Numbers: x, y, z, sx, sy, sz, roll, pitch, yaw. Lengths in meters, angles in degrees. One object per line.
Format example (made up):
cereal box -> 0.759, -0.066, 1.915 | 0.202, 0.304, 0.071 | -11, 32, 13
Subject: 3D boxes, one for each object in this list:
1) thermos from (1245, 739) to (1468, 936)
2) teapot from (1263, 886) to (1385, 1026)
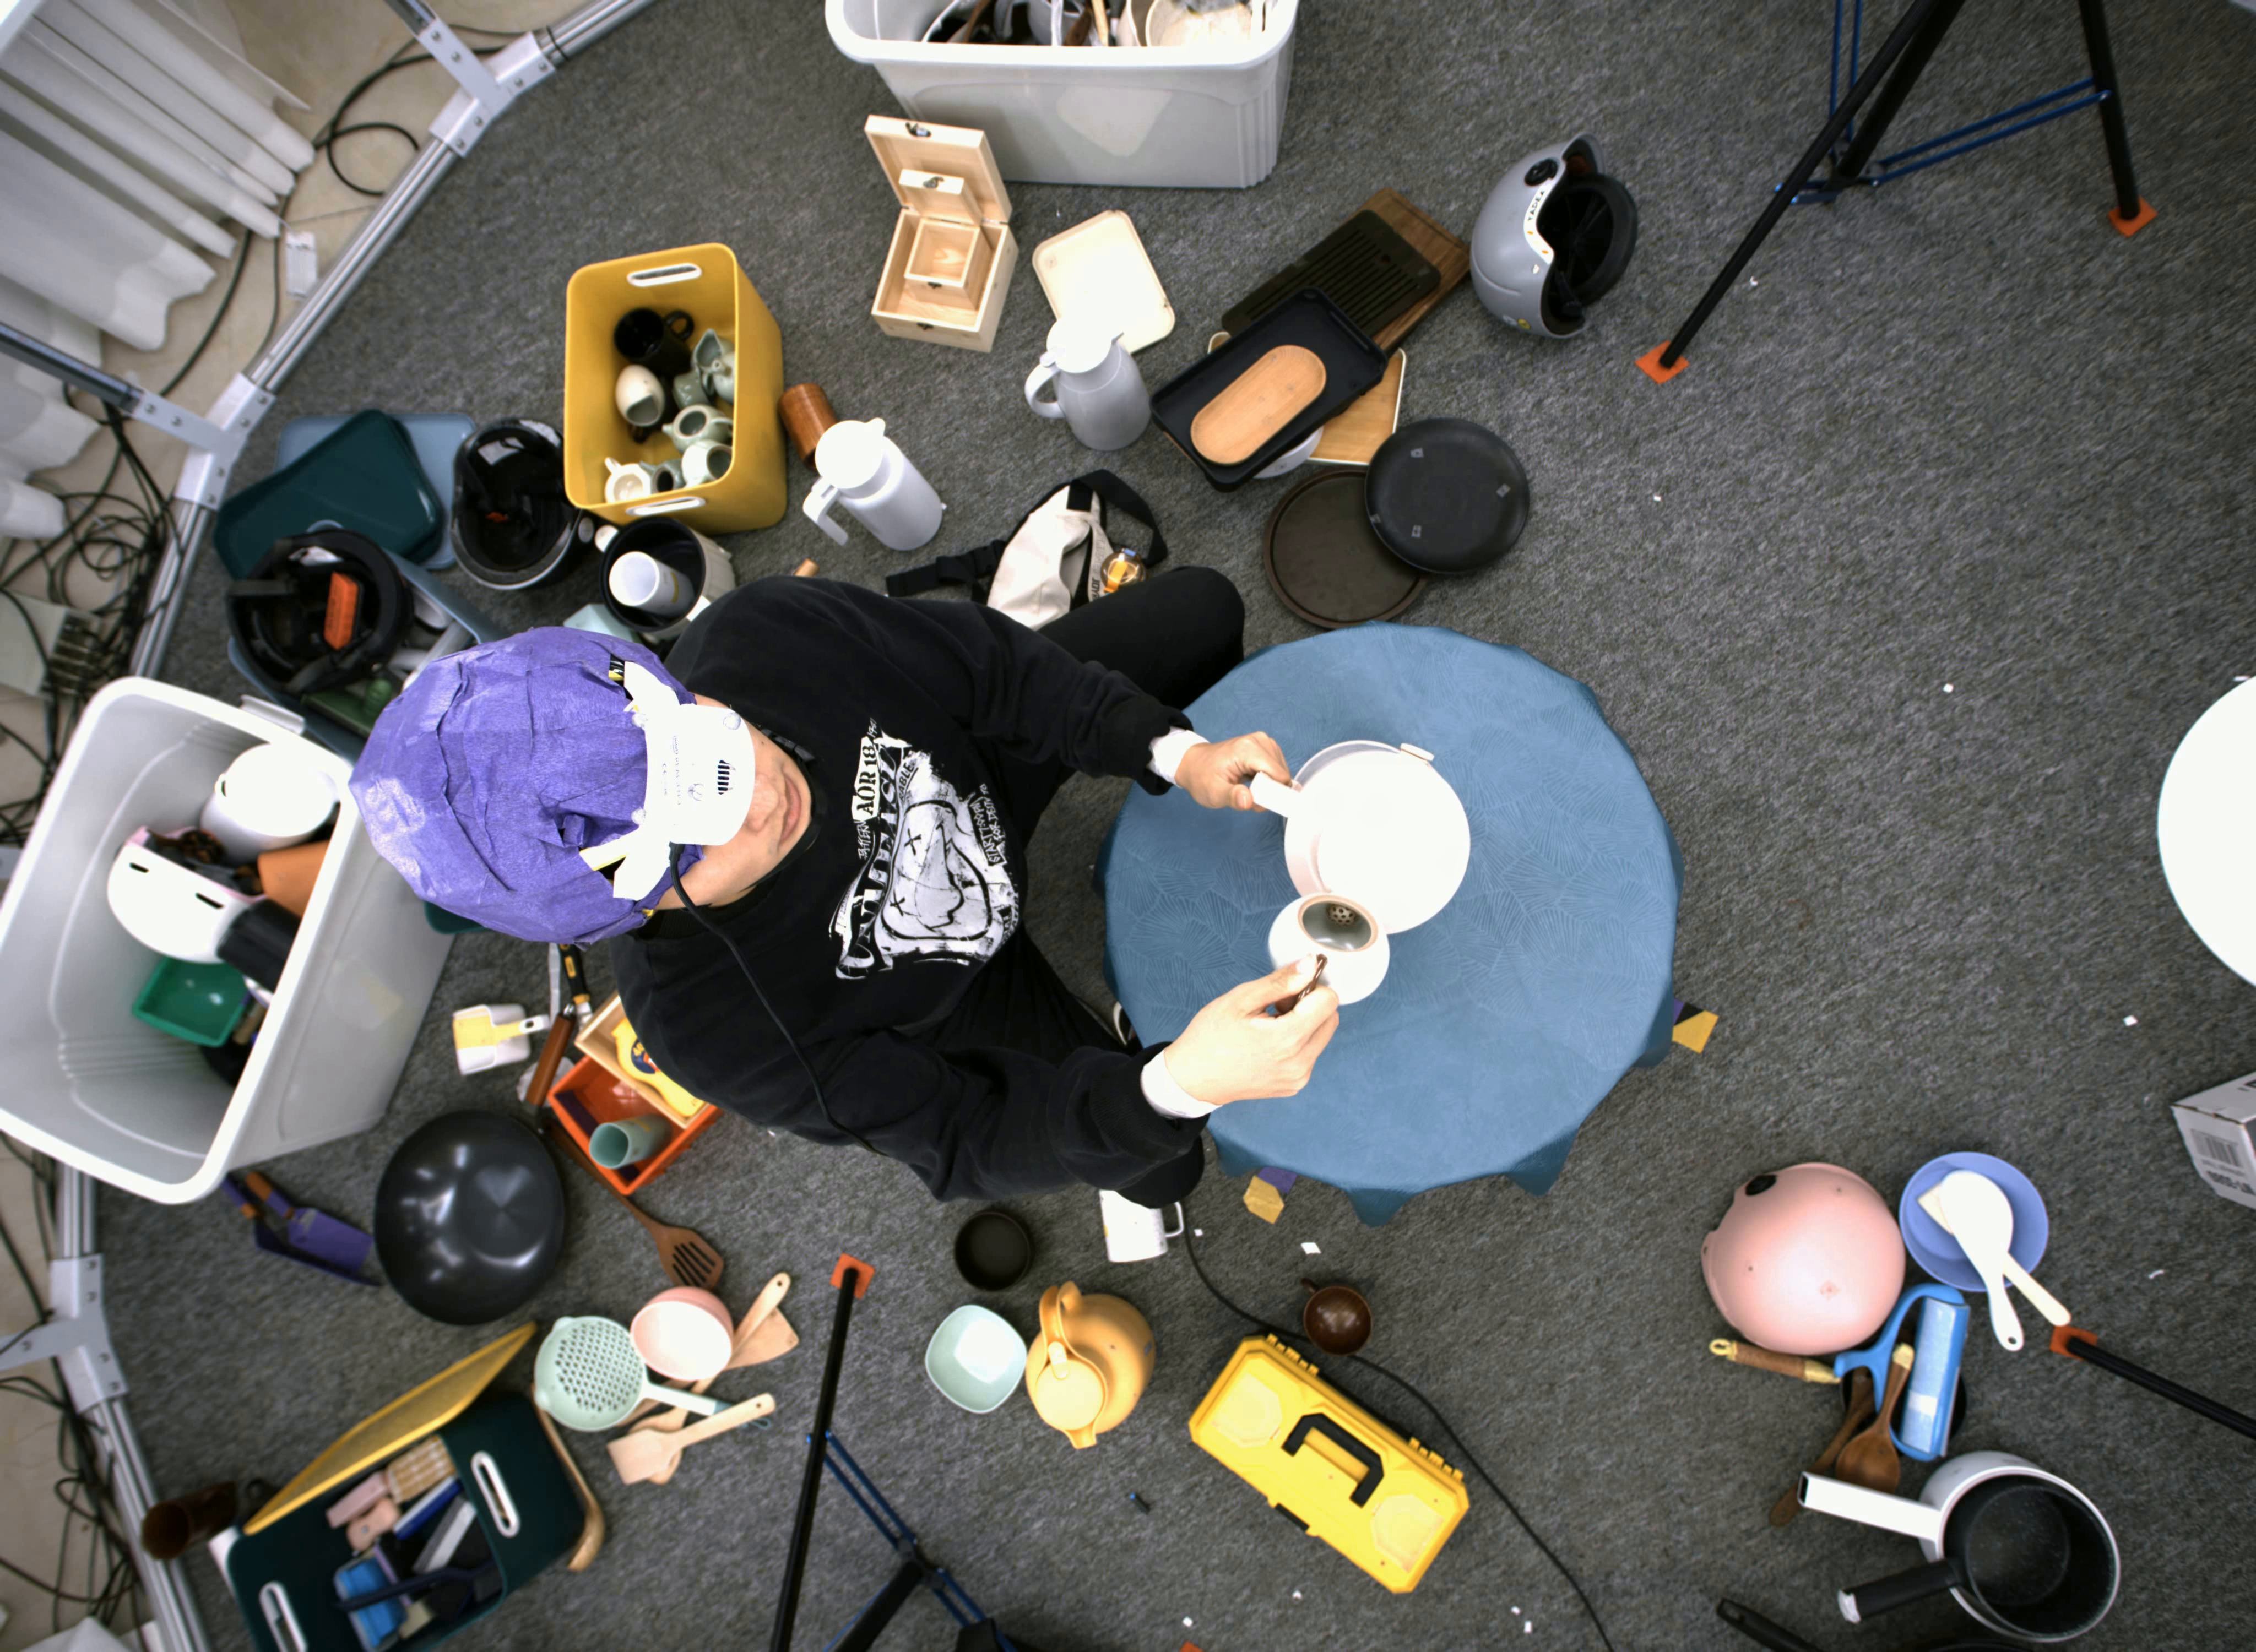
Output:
thermos -> 0.208, -0.001, 1.262 | 0.207, 0.402, 0.177 | 23, 100, 4
teapot -> 0.144, 0.099, 1.032 | 0.092, 0.125, 0.061 | 24, 132, 9
